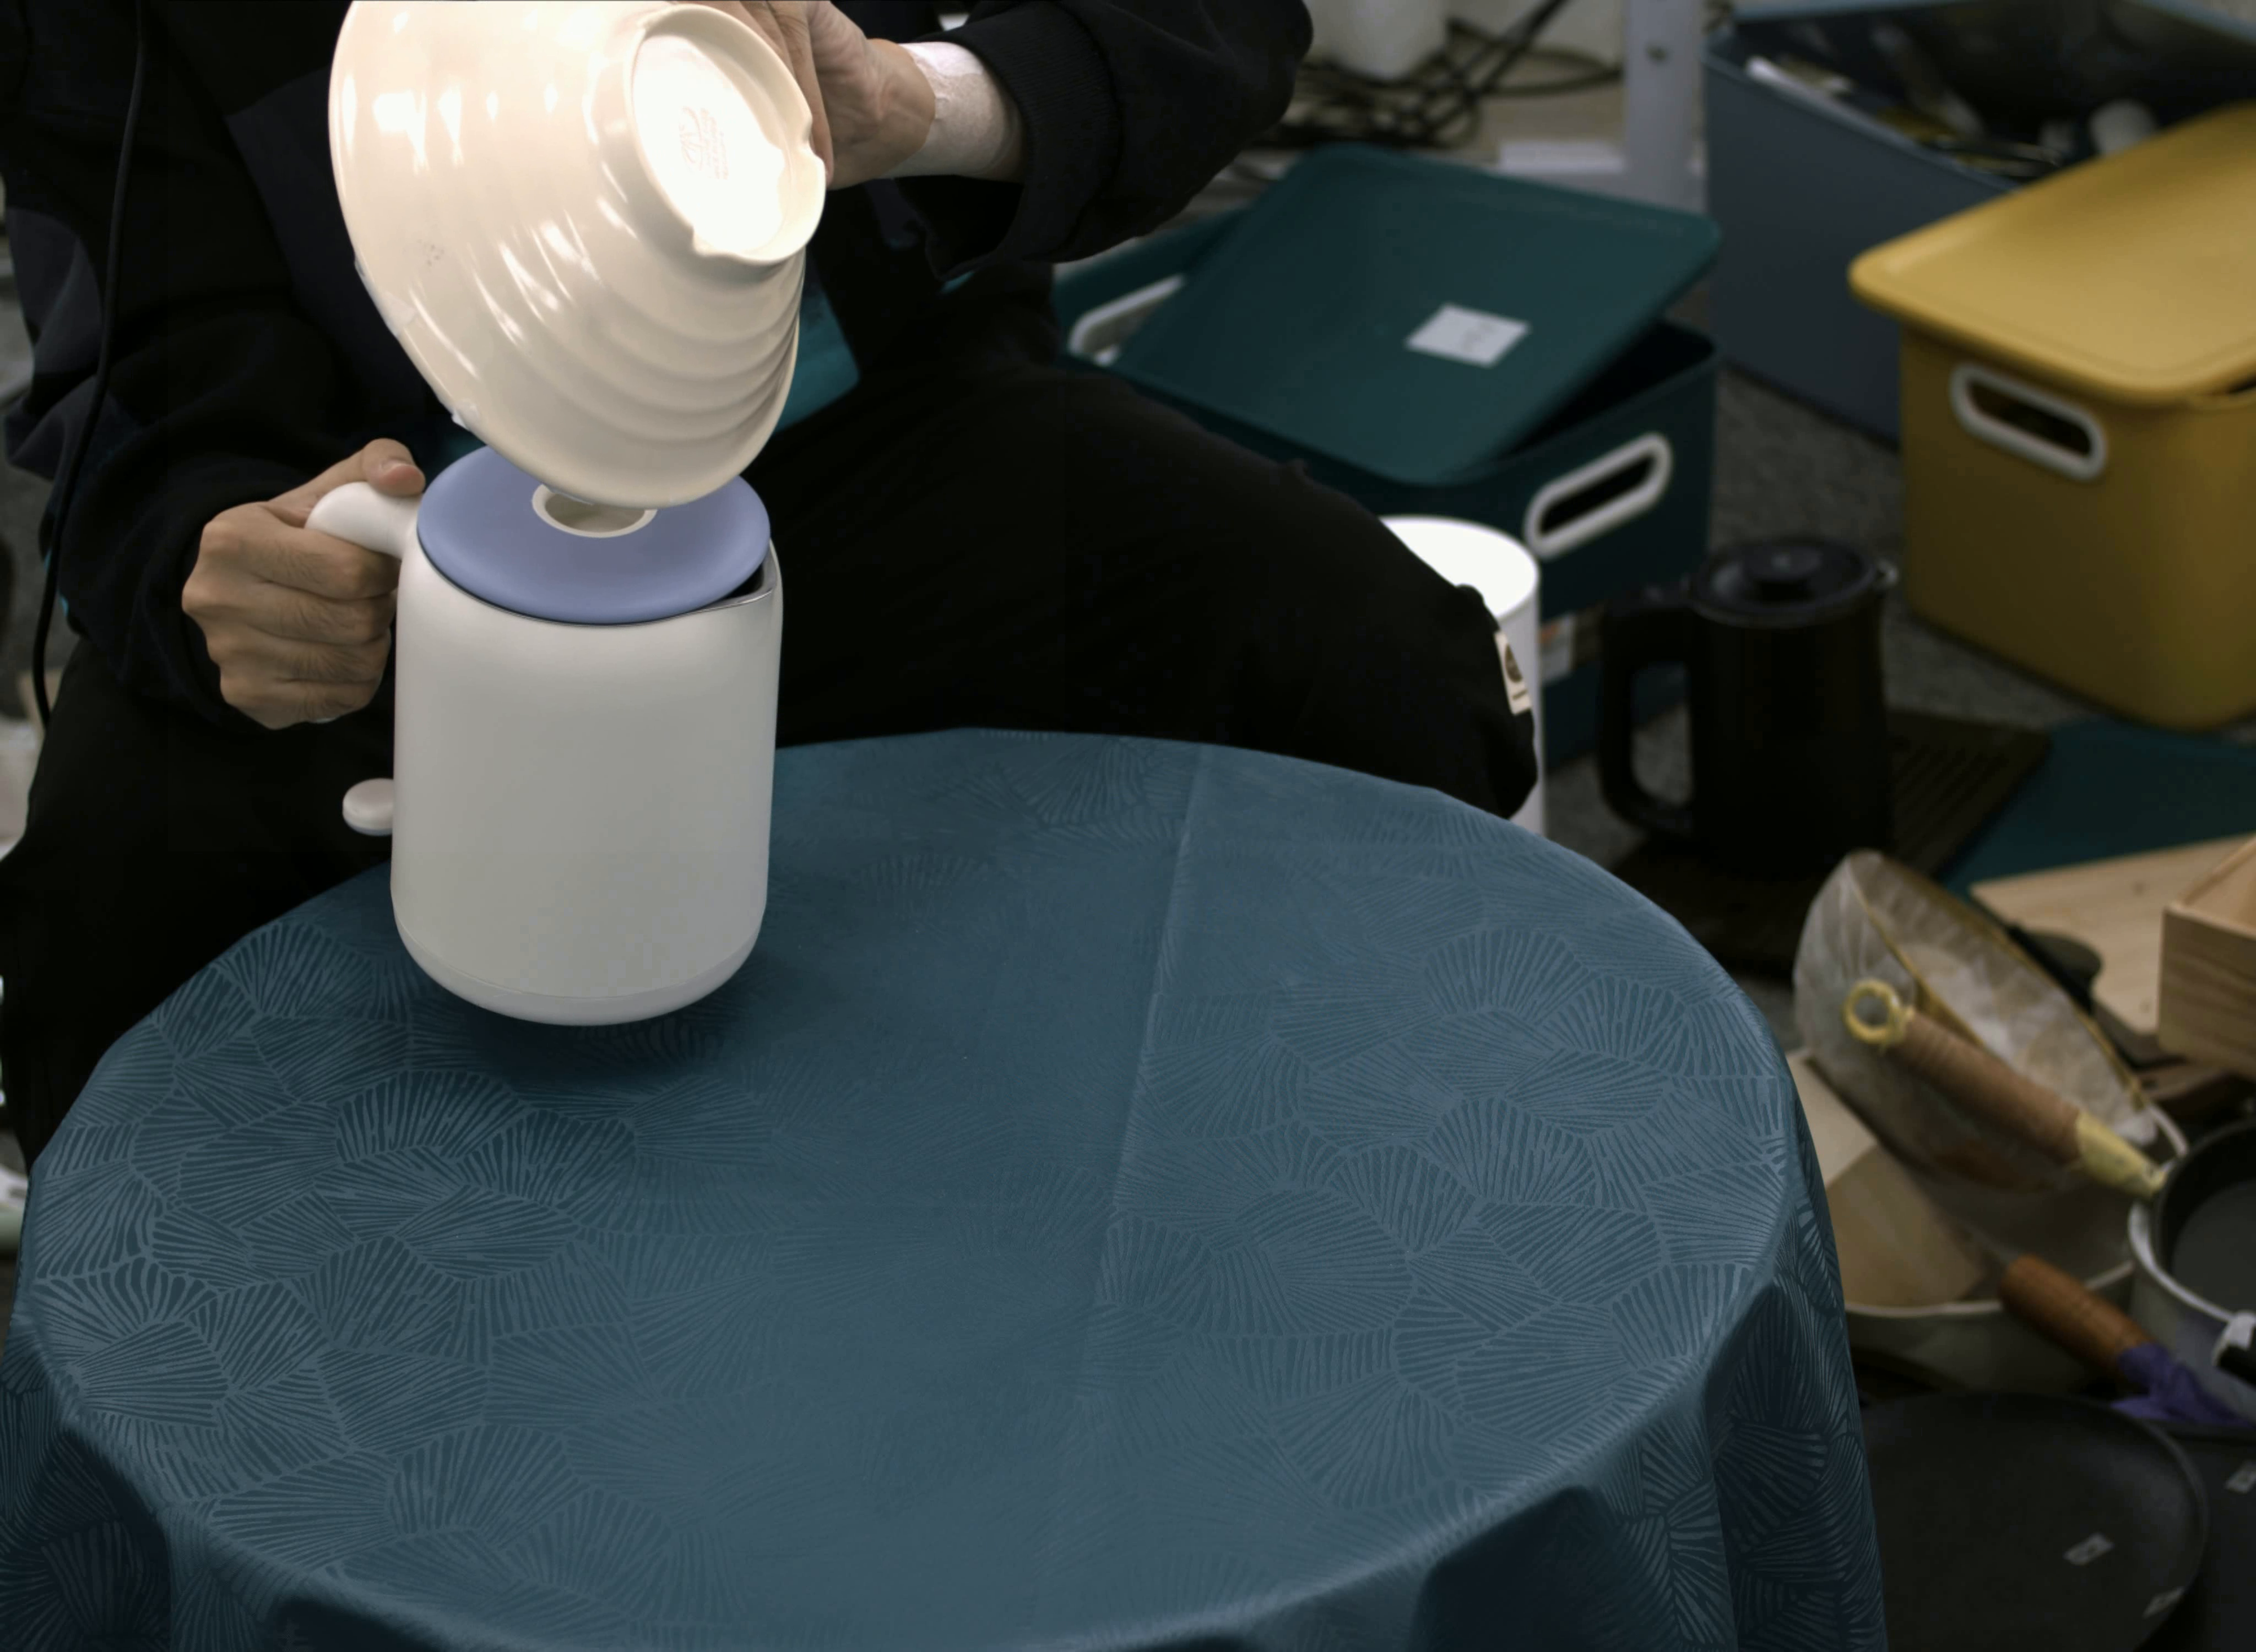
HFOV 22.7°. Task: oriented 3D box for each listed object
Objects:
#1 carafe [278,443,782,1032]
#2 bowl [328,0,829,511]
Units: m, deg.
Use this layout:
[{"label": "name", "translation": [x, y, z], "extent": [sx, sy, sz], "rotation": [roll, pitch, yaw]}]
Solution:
[{"label": "carafe", "translation": [-0.208, -0.040, 1.933], "extent": [0.190, 0.180, 0.134], "rotation": [15, 32, 18]}, {"label": "bowl", "translation": [-0.153, -0.209, 1.806], "extent": [0.077, 0.204, 0.207], "rotation": [-21, 11, 40]}]
